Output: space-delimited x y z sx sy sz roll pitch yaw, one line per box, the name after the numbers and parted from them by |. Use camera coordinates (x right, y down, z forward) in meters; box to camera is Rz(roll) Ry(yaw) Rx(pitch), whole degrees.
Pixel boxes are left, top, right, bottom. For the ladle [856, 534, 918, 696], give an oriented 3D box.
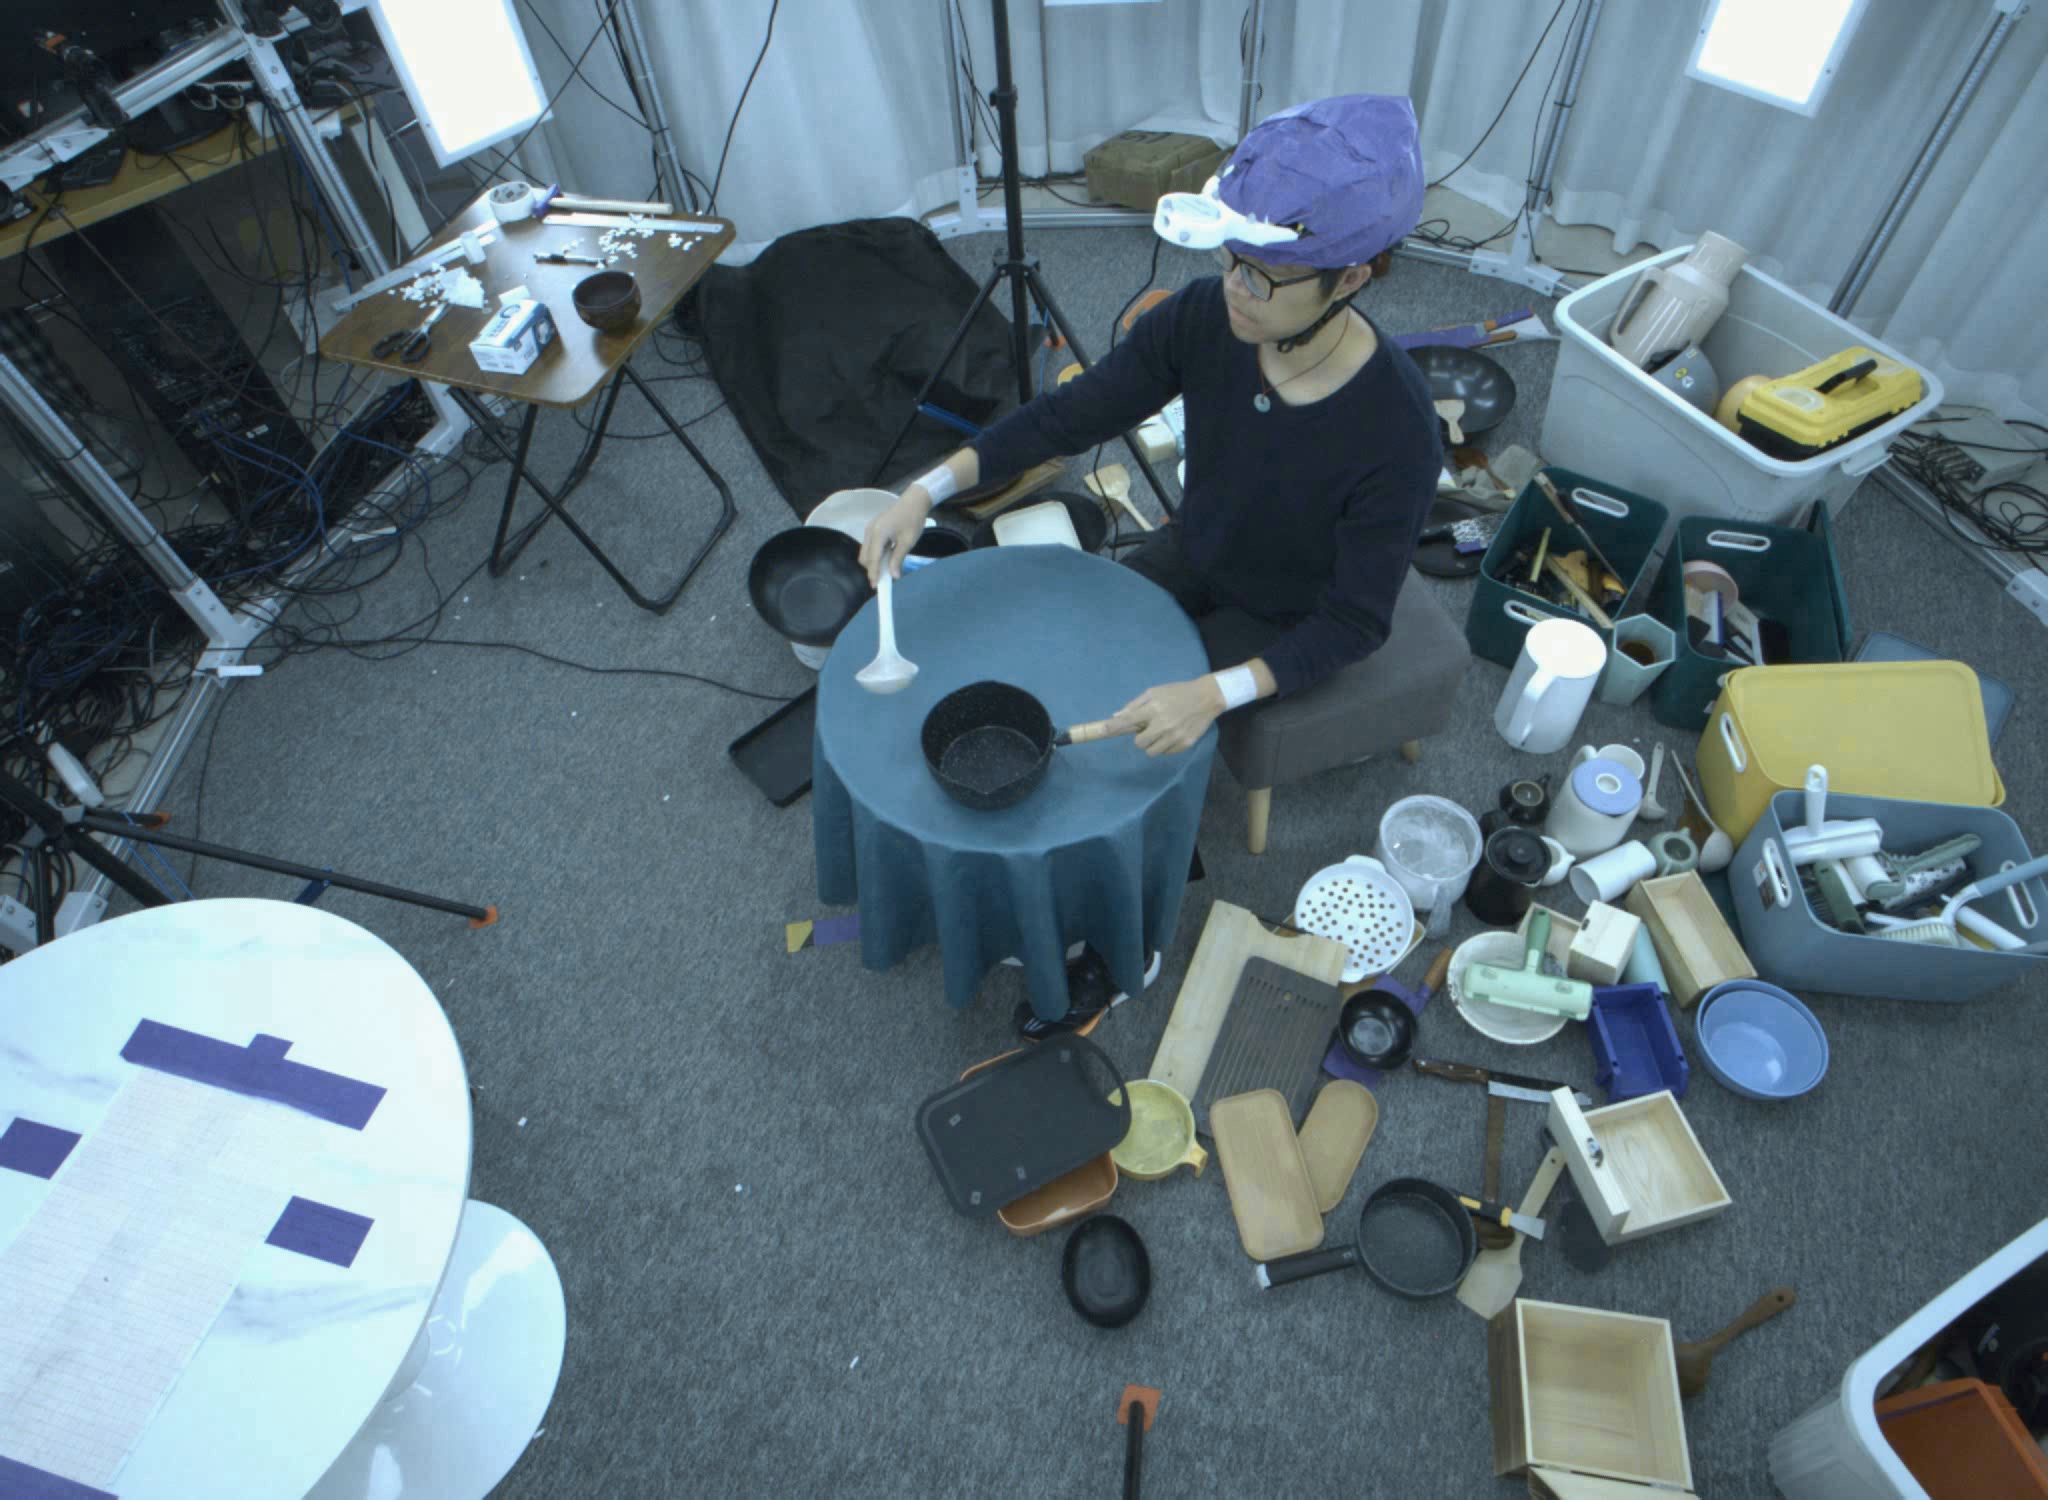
-0.202 -0.206 1.749 0.089 0.070 0.272 -8 71 7 | ladle

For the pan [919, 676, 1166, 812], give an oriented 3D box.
0.028 -0.011 1.727 0.343 0.109 0.205 -5 54 1 | pan
